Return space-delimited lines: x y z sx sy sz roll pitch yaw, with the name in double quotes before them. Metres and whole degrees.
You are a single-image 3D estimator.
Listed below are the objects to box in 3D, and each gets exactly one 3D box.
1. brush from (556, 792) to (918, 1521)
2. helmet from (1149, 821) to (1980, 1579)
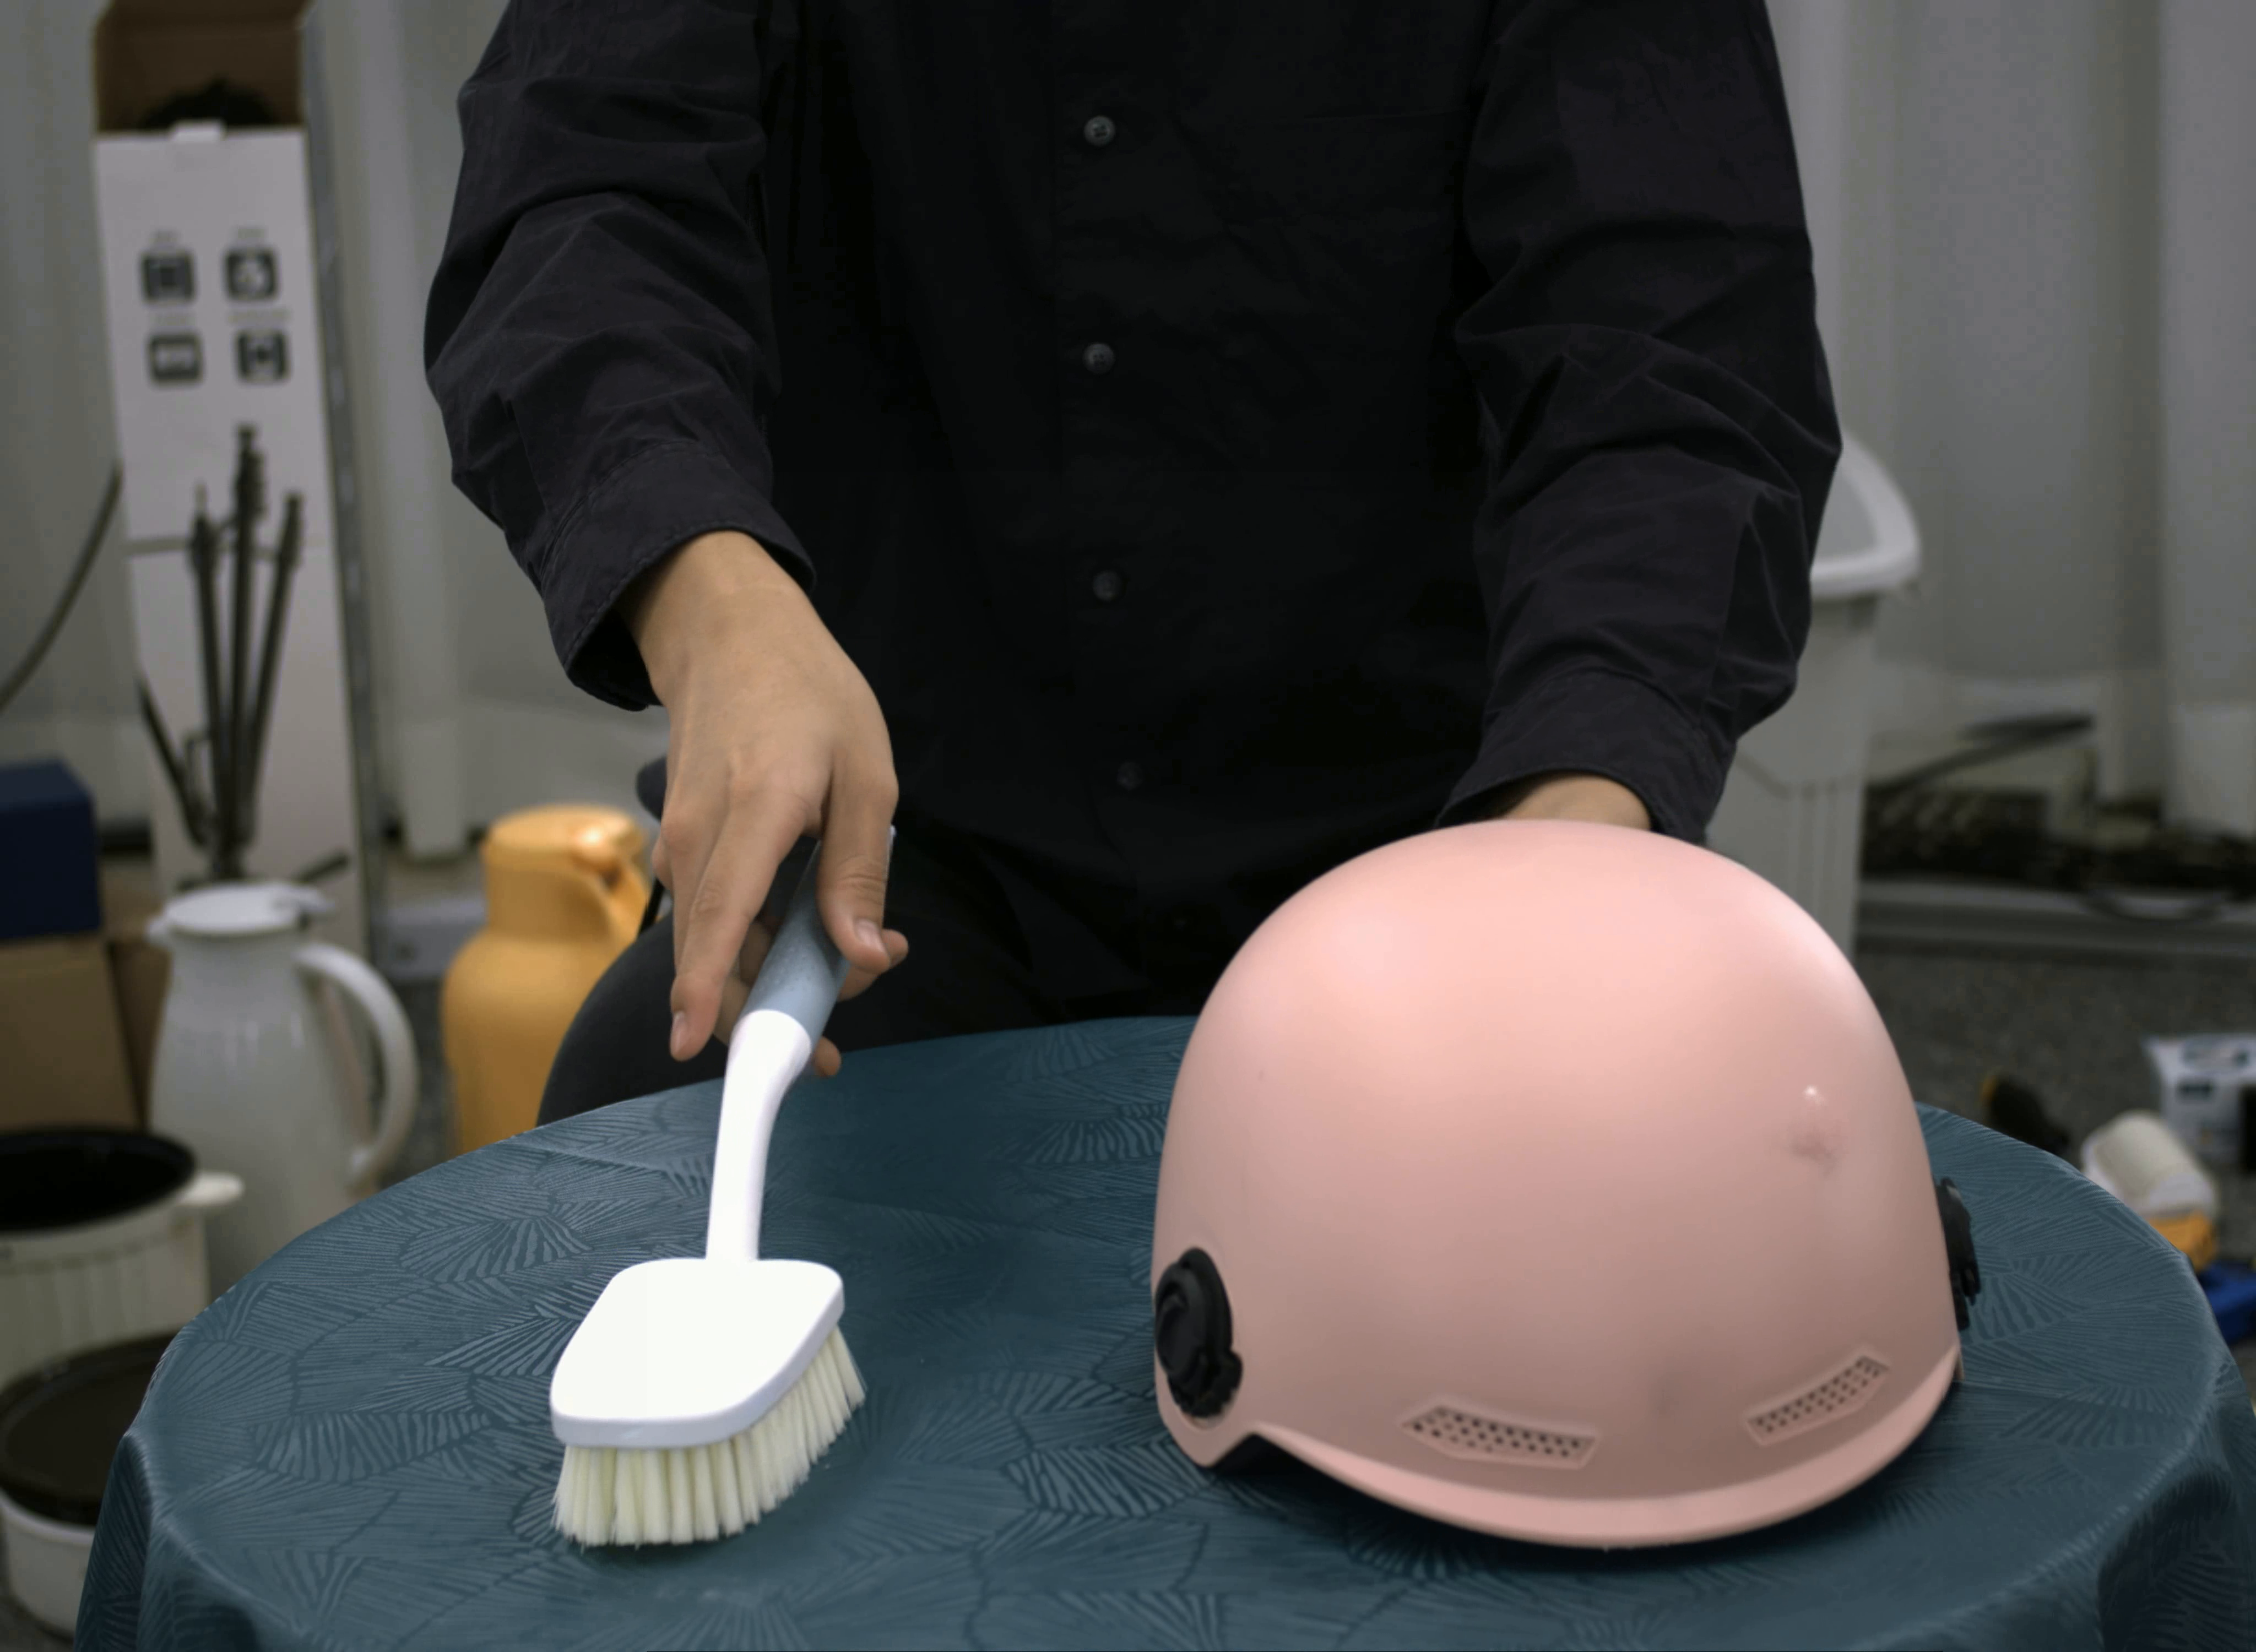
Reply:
"brush" -0.097 0.106 1.590 0.083 0.084 0.329 31 32 -7
"helmet" 0.117 0.087 1.514 0.233 0.158 0.268 -5 19 -10
